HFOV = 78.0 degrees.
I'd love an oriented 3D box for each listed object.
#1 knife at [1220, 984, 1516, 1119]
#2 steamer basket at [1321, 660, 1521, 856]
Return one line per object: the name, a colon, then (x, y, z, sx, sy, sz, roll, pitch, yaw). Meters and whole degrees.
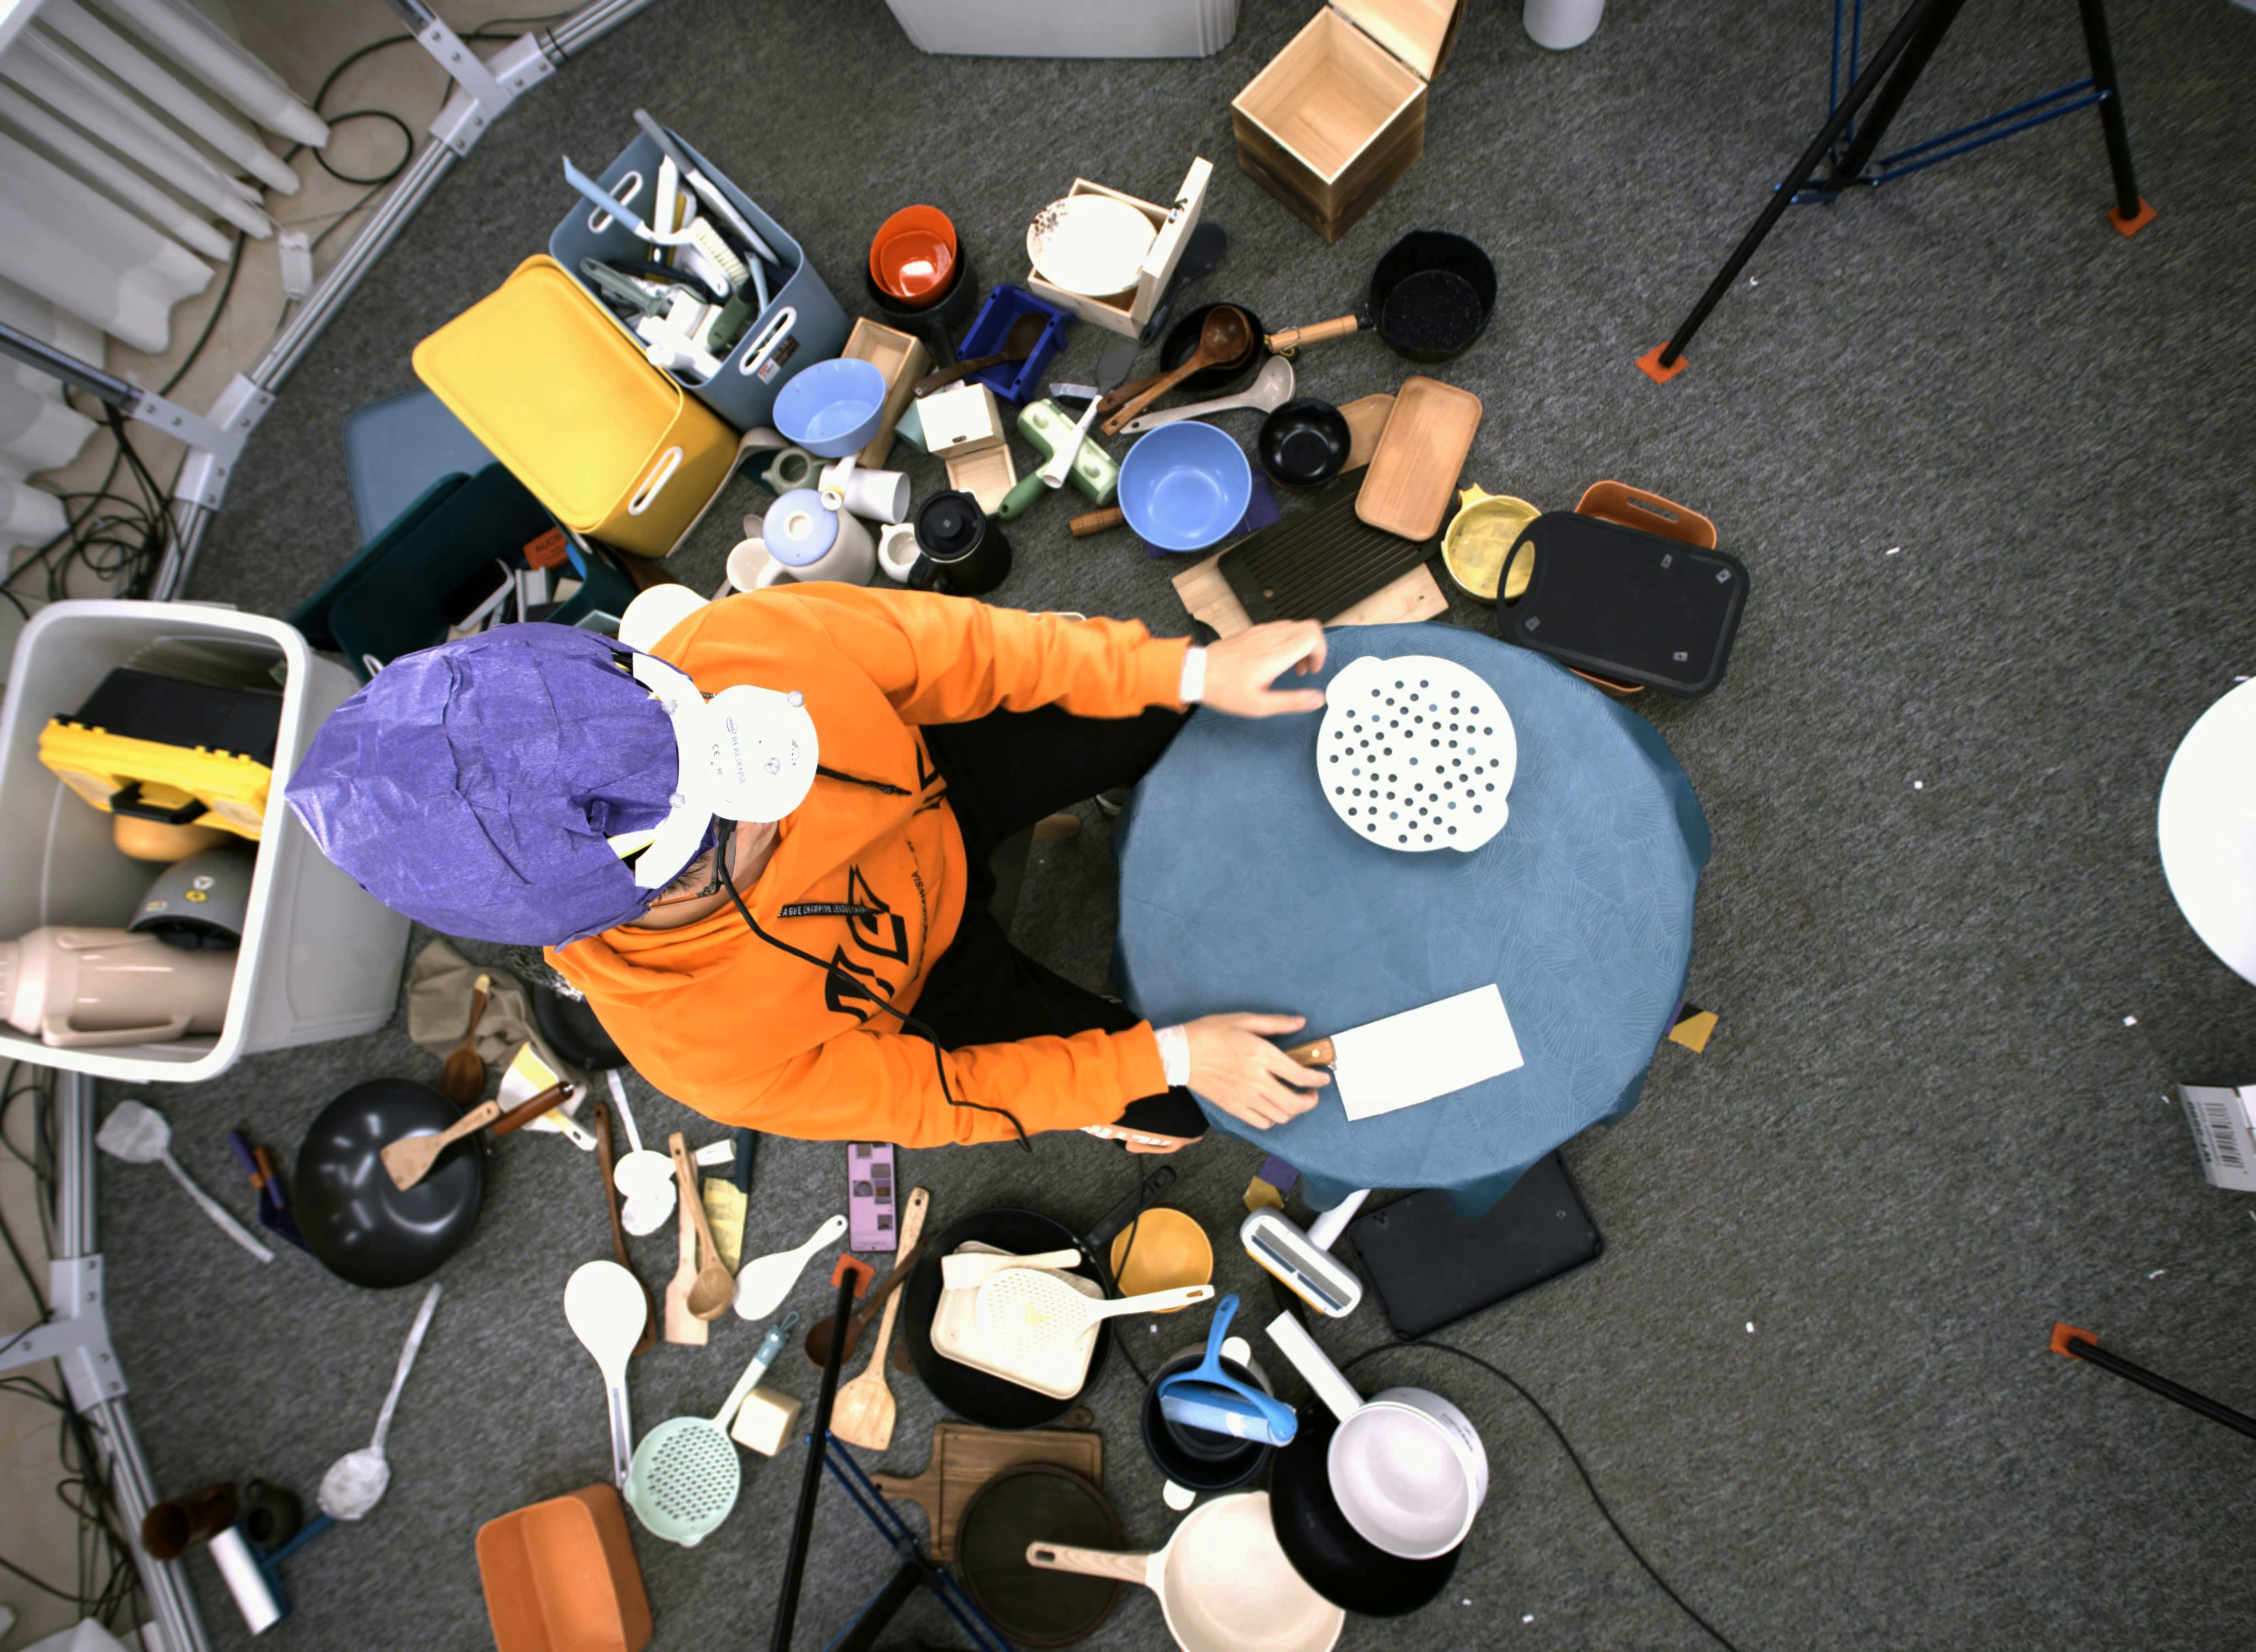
knife: (0.252, 0.250, 1.445, 0.307, 0.021, 0.092, -19, 85, 7)
steamer basket: (0.302, -0.069, 1.426, 0.203, 0.069, 0.229, -41, 83, 6)
